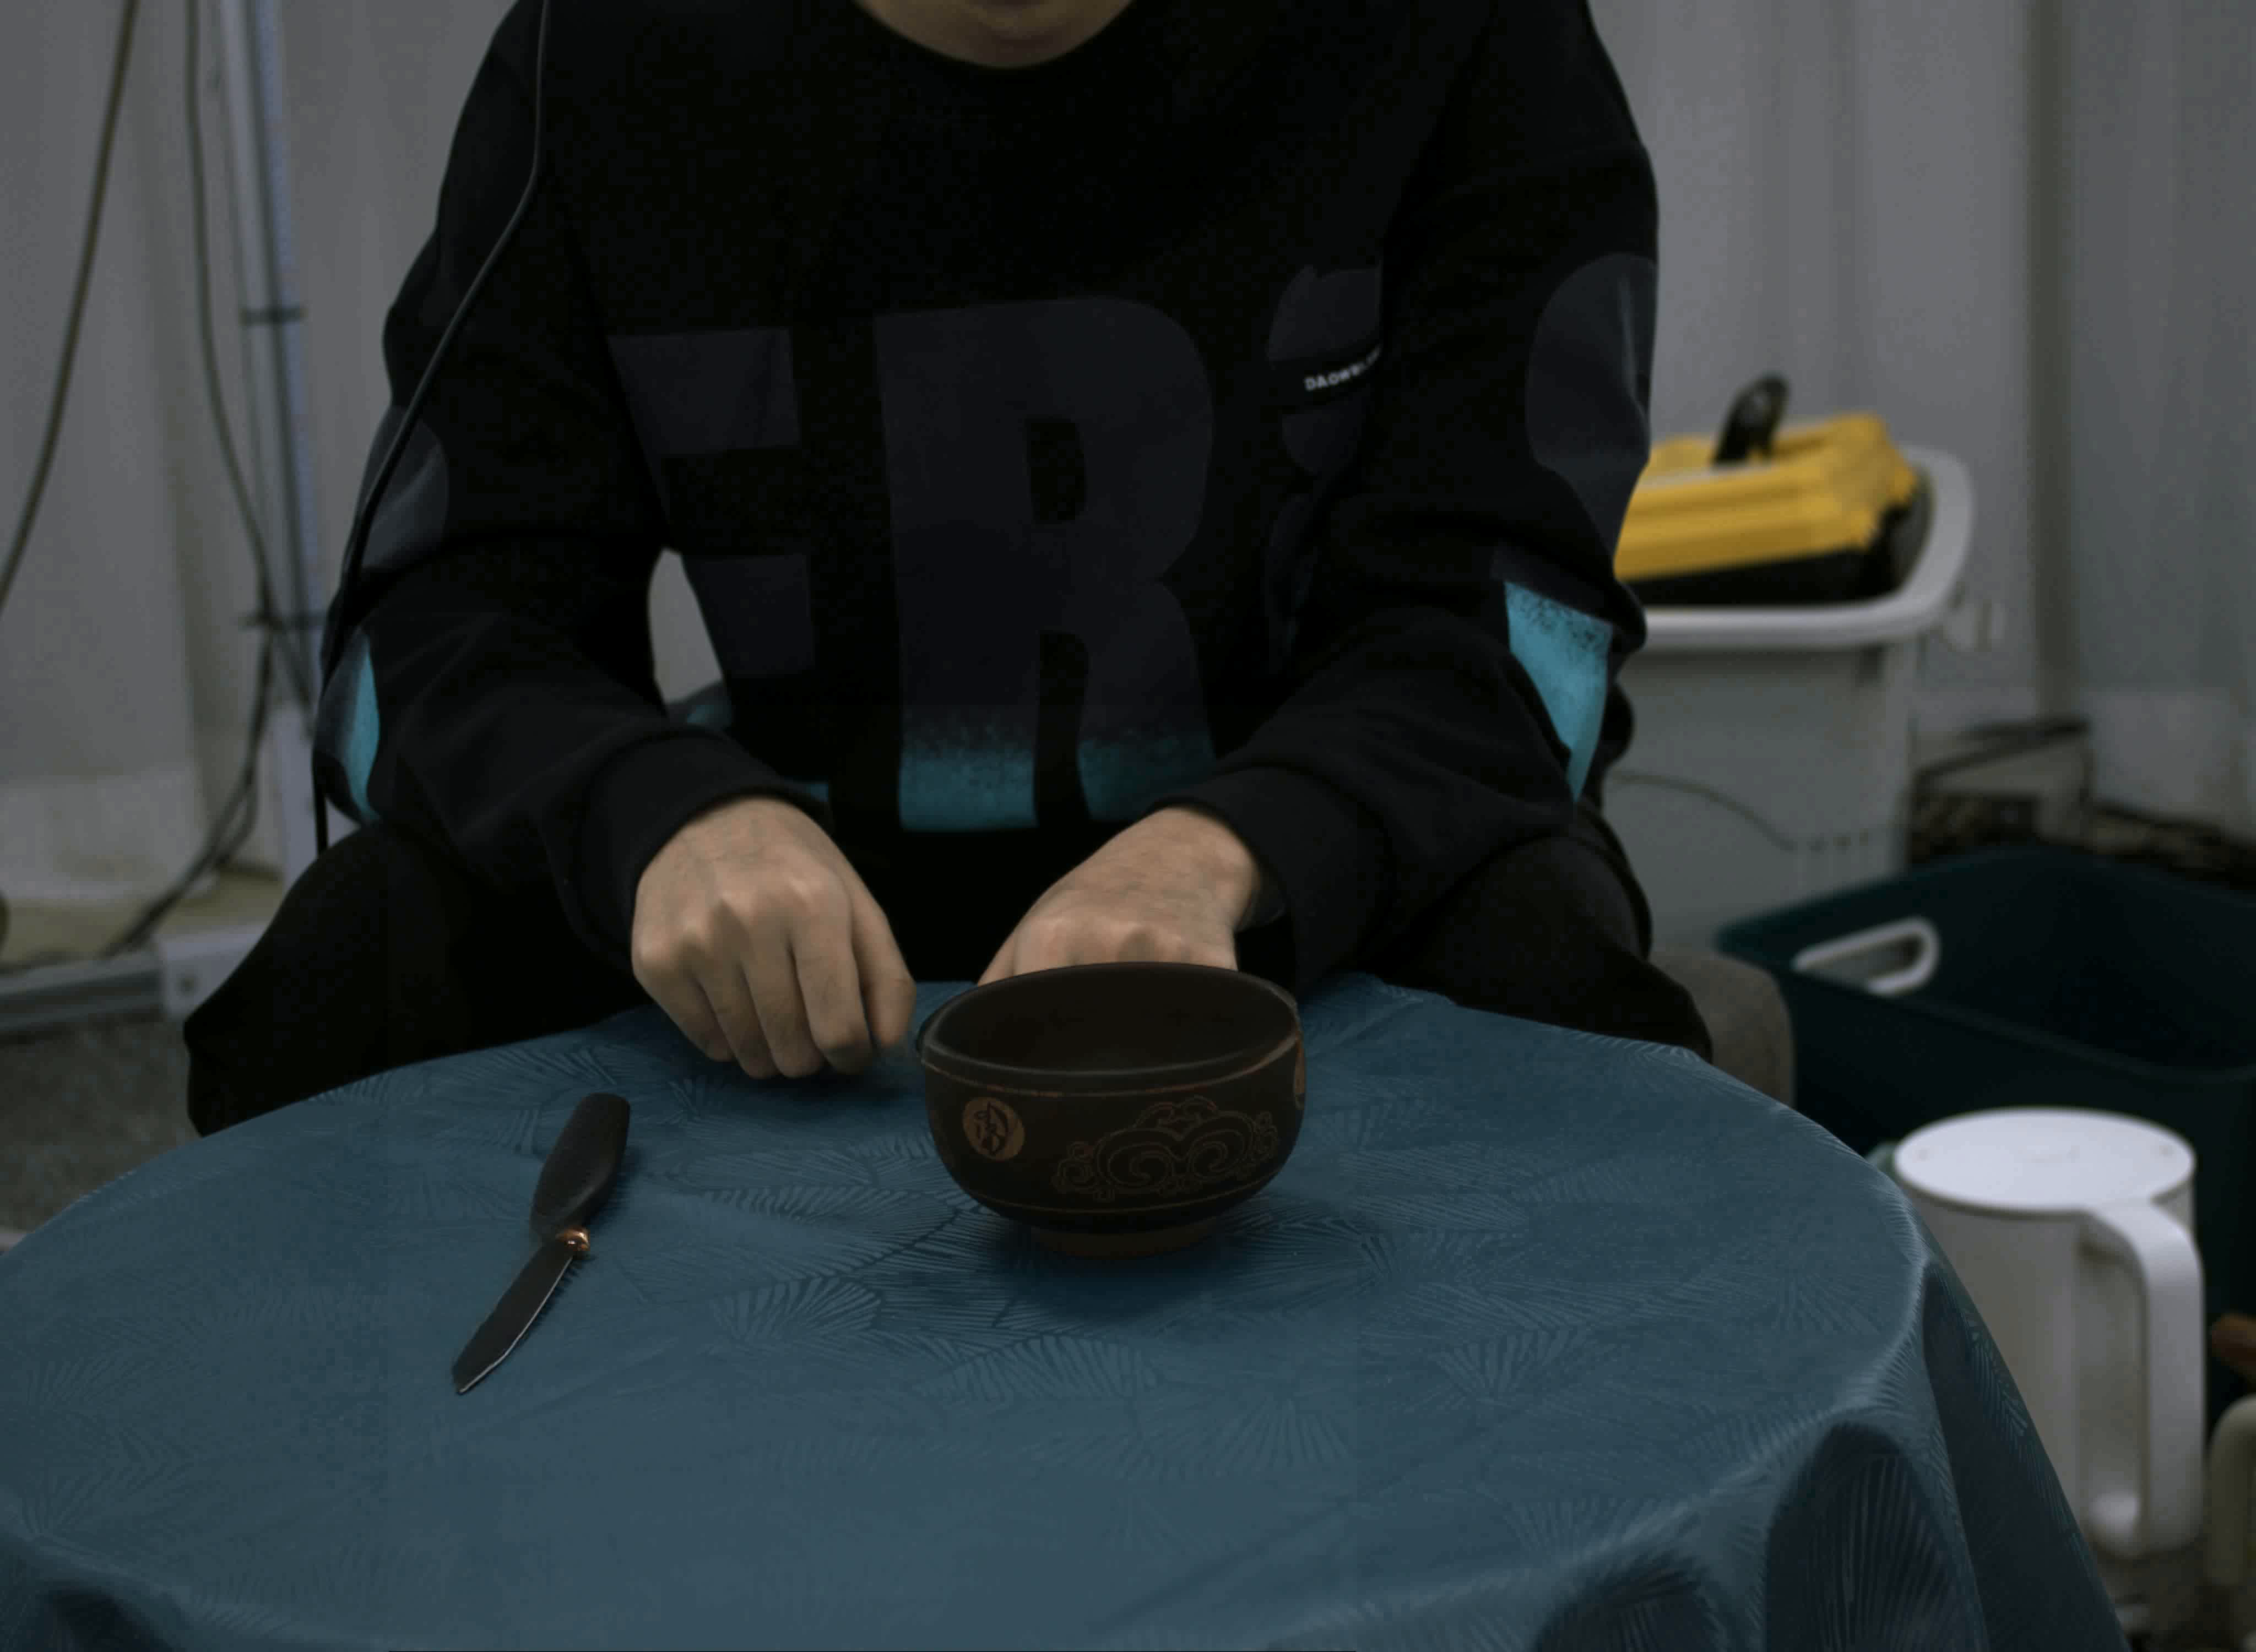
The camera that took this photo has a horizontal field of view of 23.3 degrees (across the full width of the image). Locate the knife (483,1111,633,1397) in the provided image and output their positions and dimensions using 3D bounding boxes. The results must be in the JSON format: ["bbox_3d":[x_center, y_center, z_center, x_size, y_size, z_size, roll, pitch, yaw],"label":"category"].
[{"bbox_3d":[-0.177,0.130,1.674,0.026,0.017,0.227,5,17,3],"label":"knife"}]

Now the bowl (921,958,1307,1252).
[{"bbox_3d":[-0.004,0.089,1.669,0.117,0.069,0.119,-1,14,0],"label":"bowl"}]
